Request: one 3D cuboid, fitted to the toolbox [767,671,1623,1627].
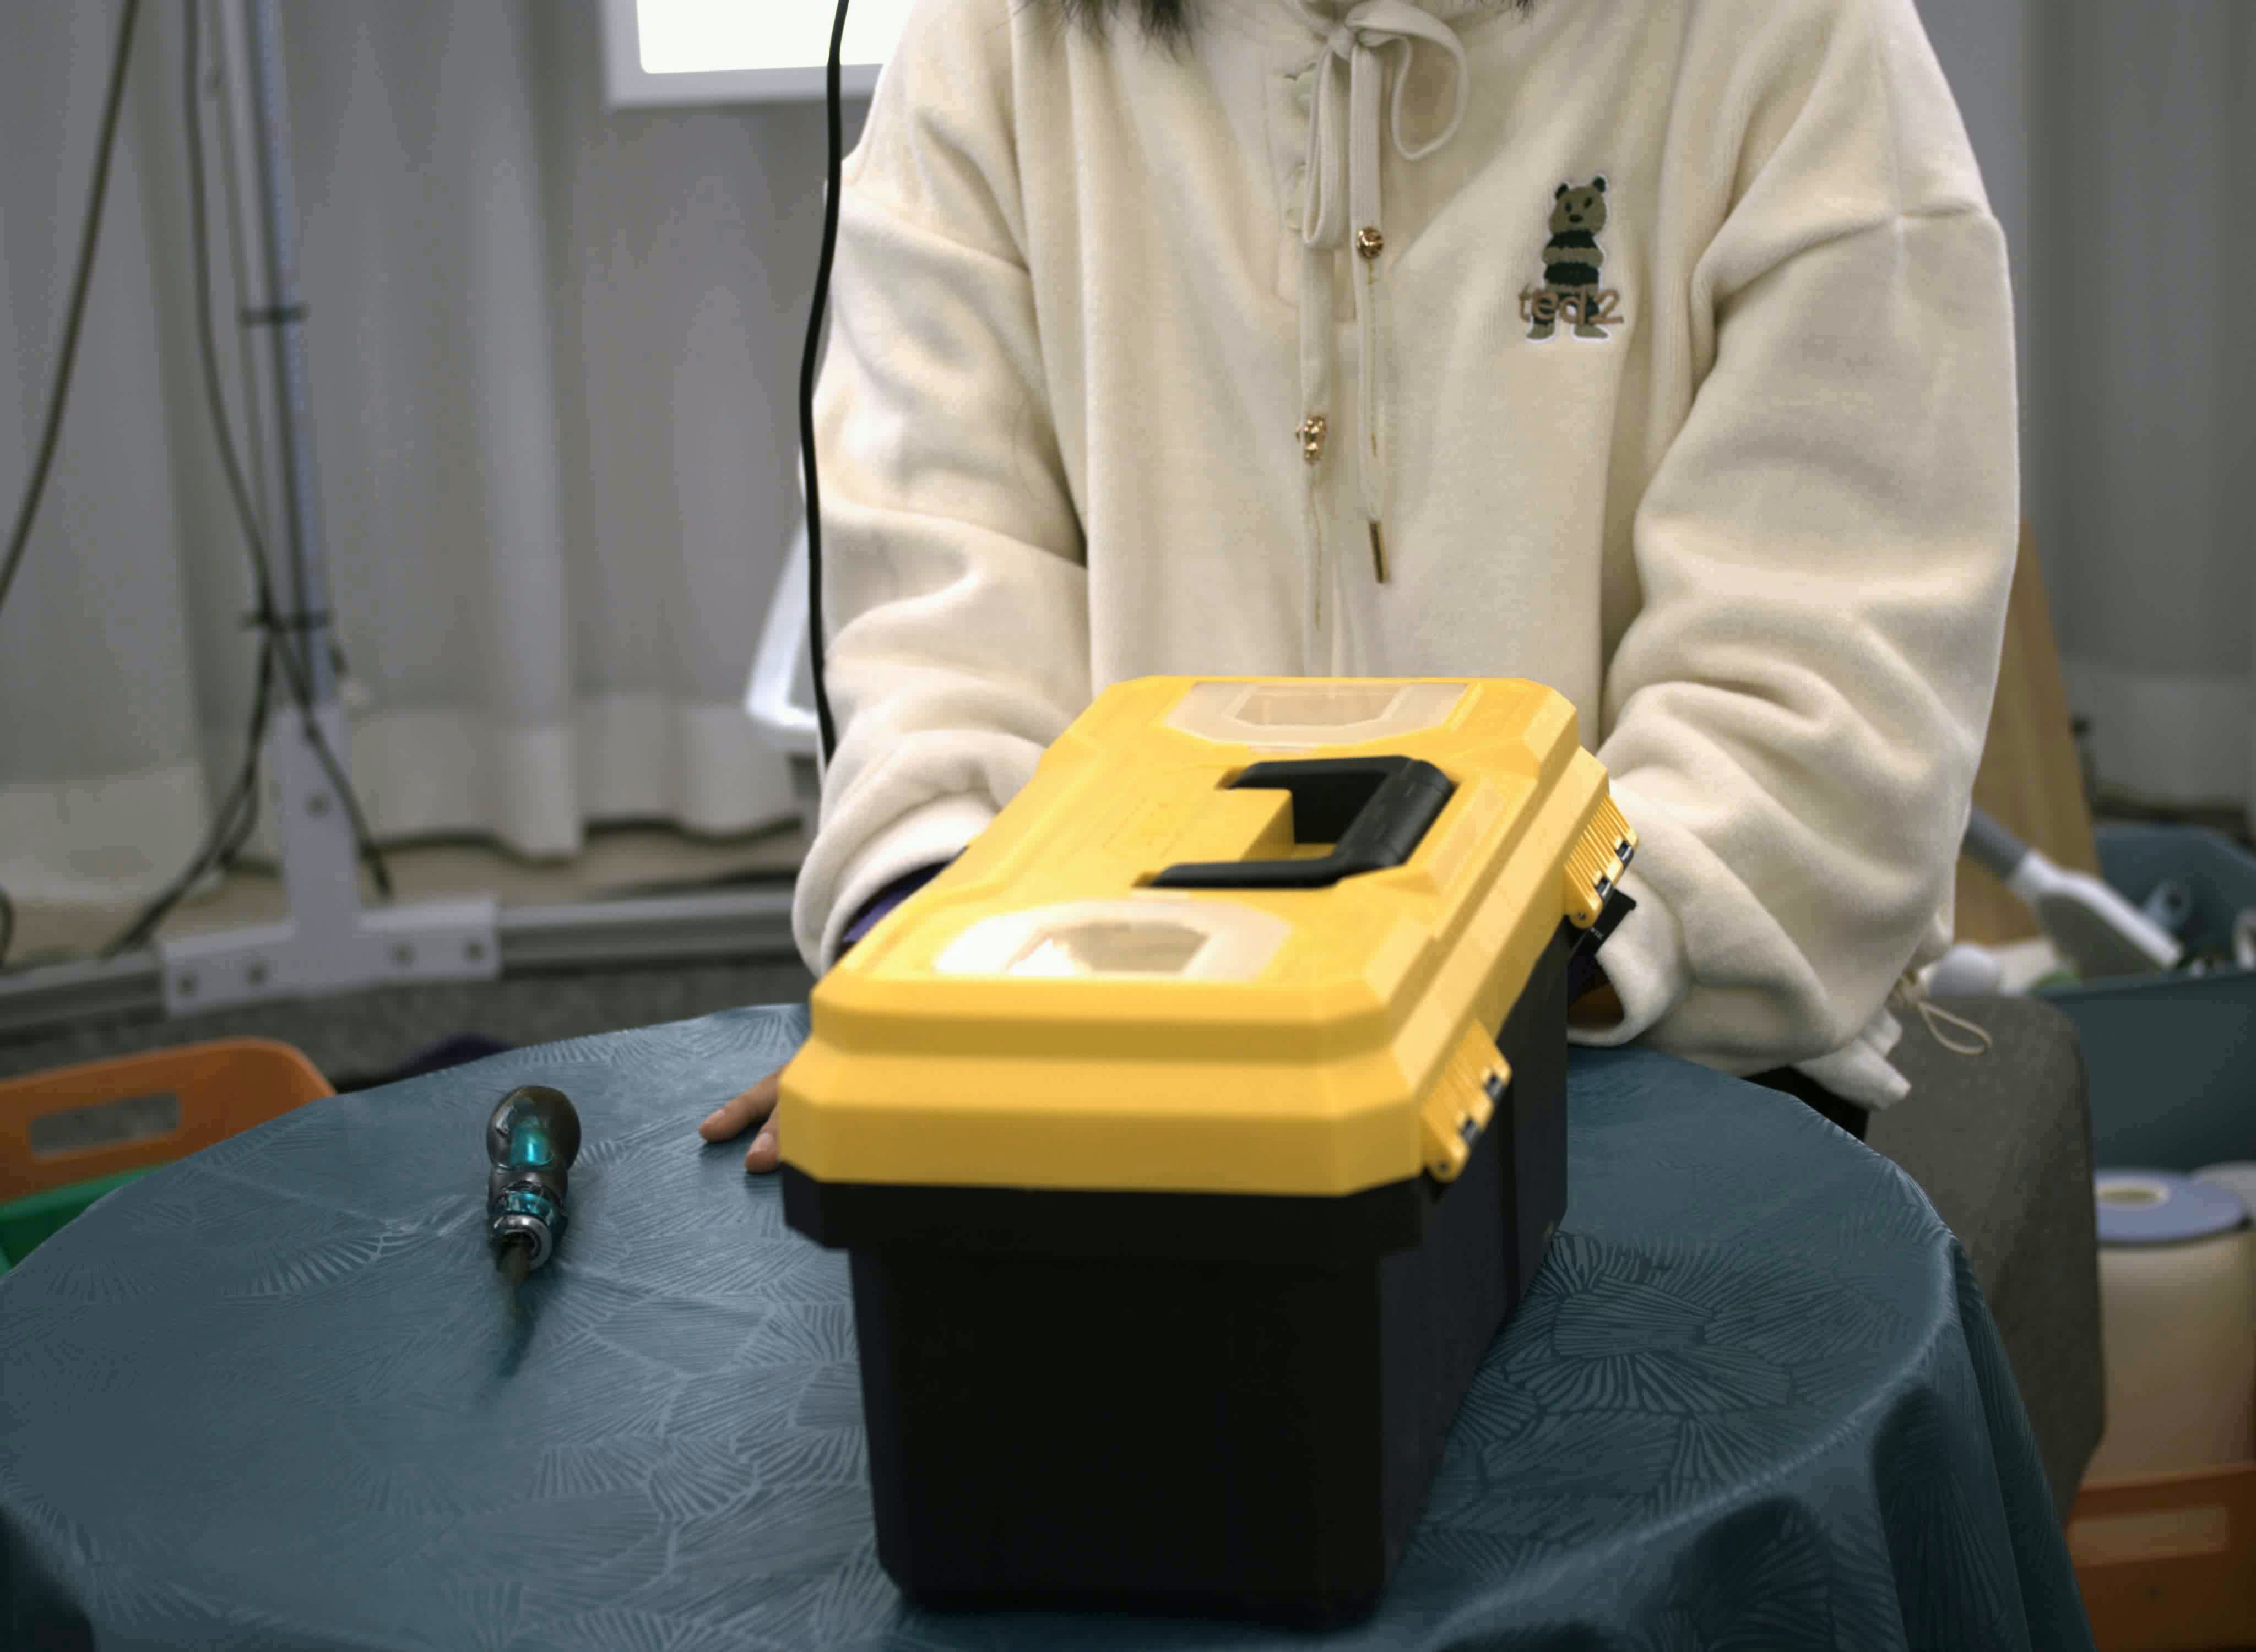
[{"bbox_3d":[0.031,0.078,1.509,0.181,0.172,0.353,1,15,14],"label":"toolbox"}]

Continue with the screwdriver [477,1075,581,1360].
[{"bbox_3d":[-0.187,0.123,1.678,0.033,0.033,0.192,-3,19,-2],"label":"screwdriver"}]
